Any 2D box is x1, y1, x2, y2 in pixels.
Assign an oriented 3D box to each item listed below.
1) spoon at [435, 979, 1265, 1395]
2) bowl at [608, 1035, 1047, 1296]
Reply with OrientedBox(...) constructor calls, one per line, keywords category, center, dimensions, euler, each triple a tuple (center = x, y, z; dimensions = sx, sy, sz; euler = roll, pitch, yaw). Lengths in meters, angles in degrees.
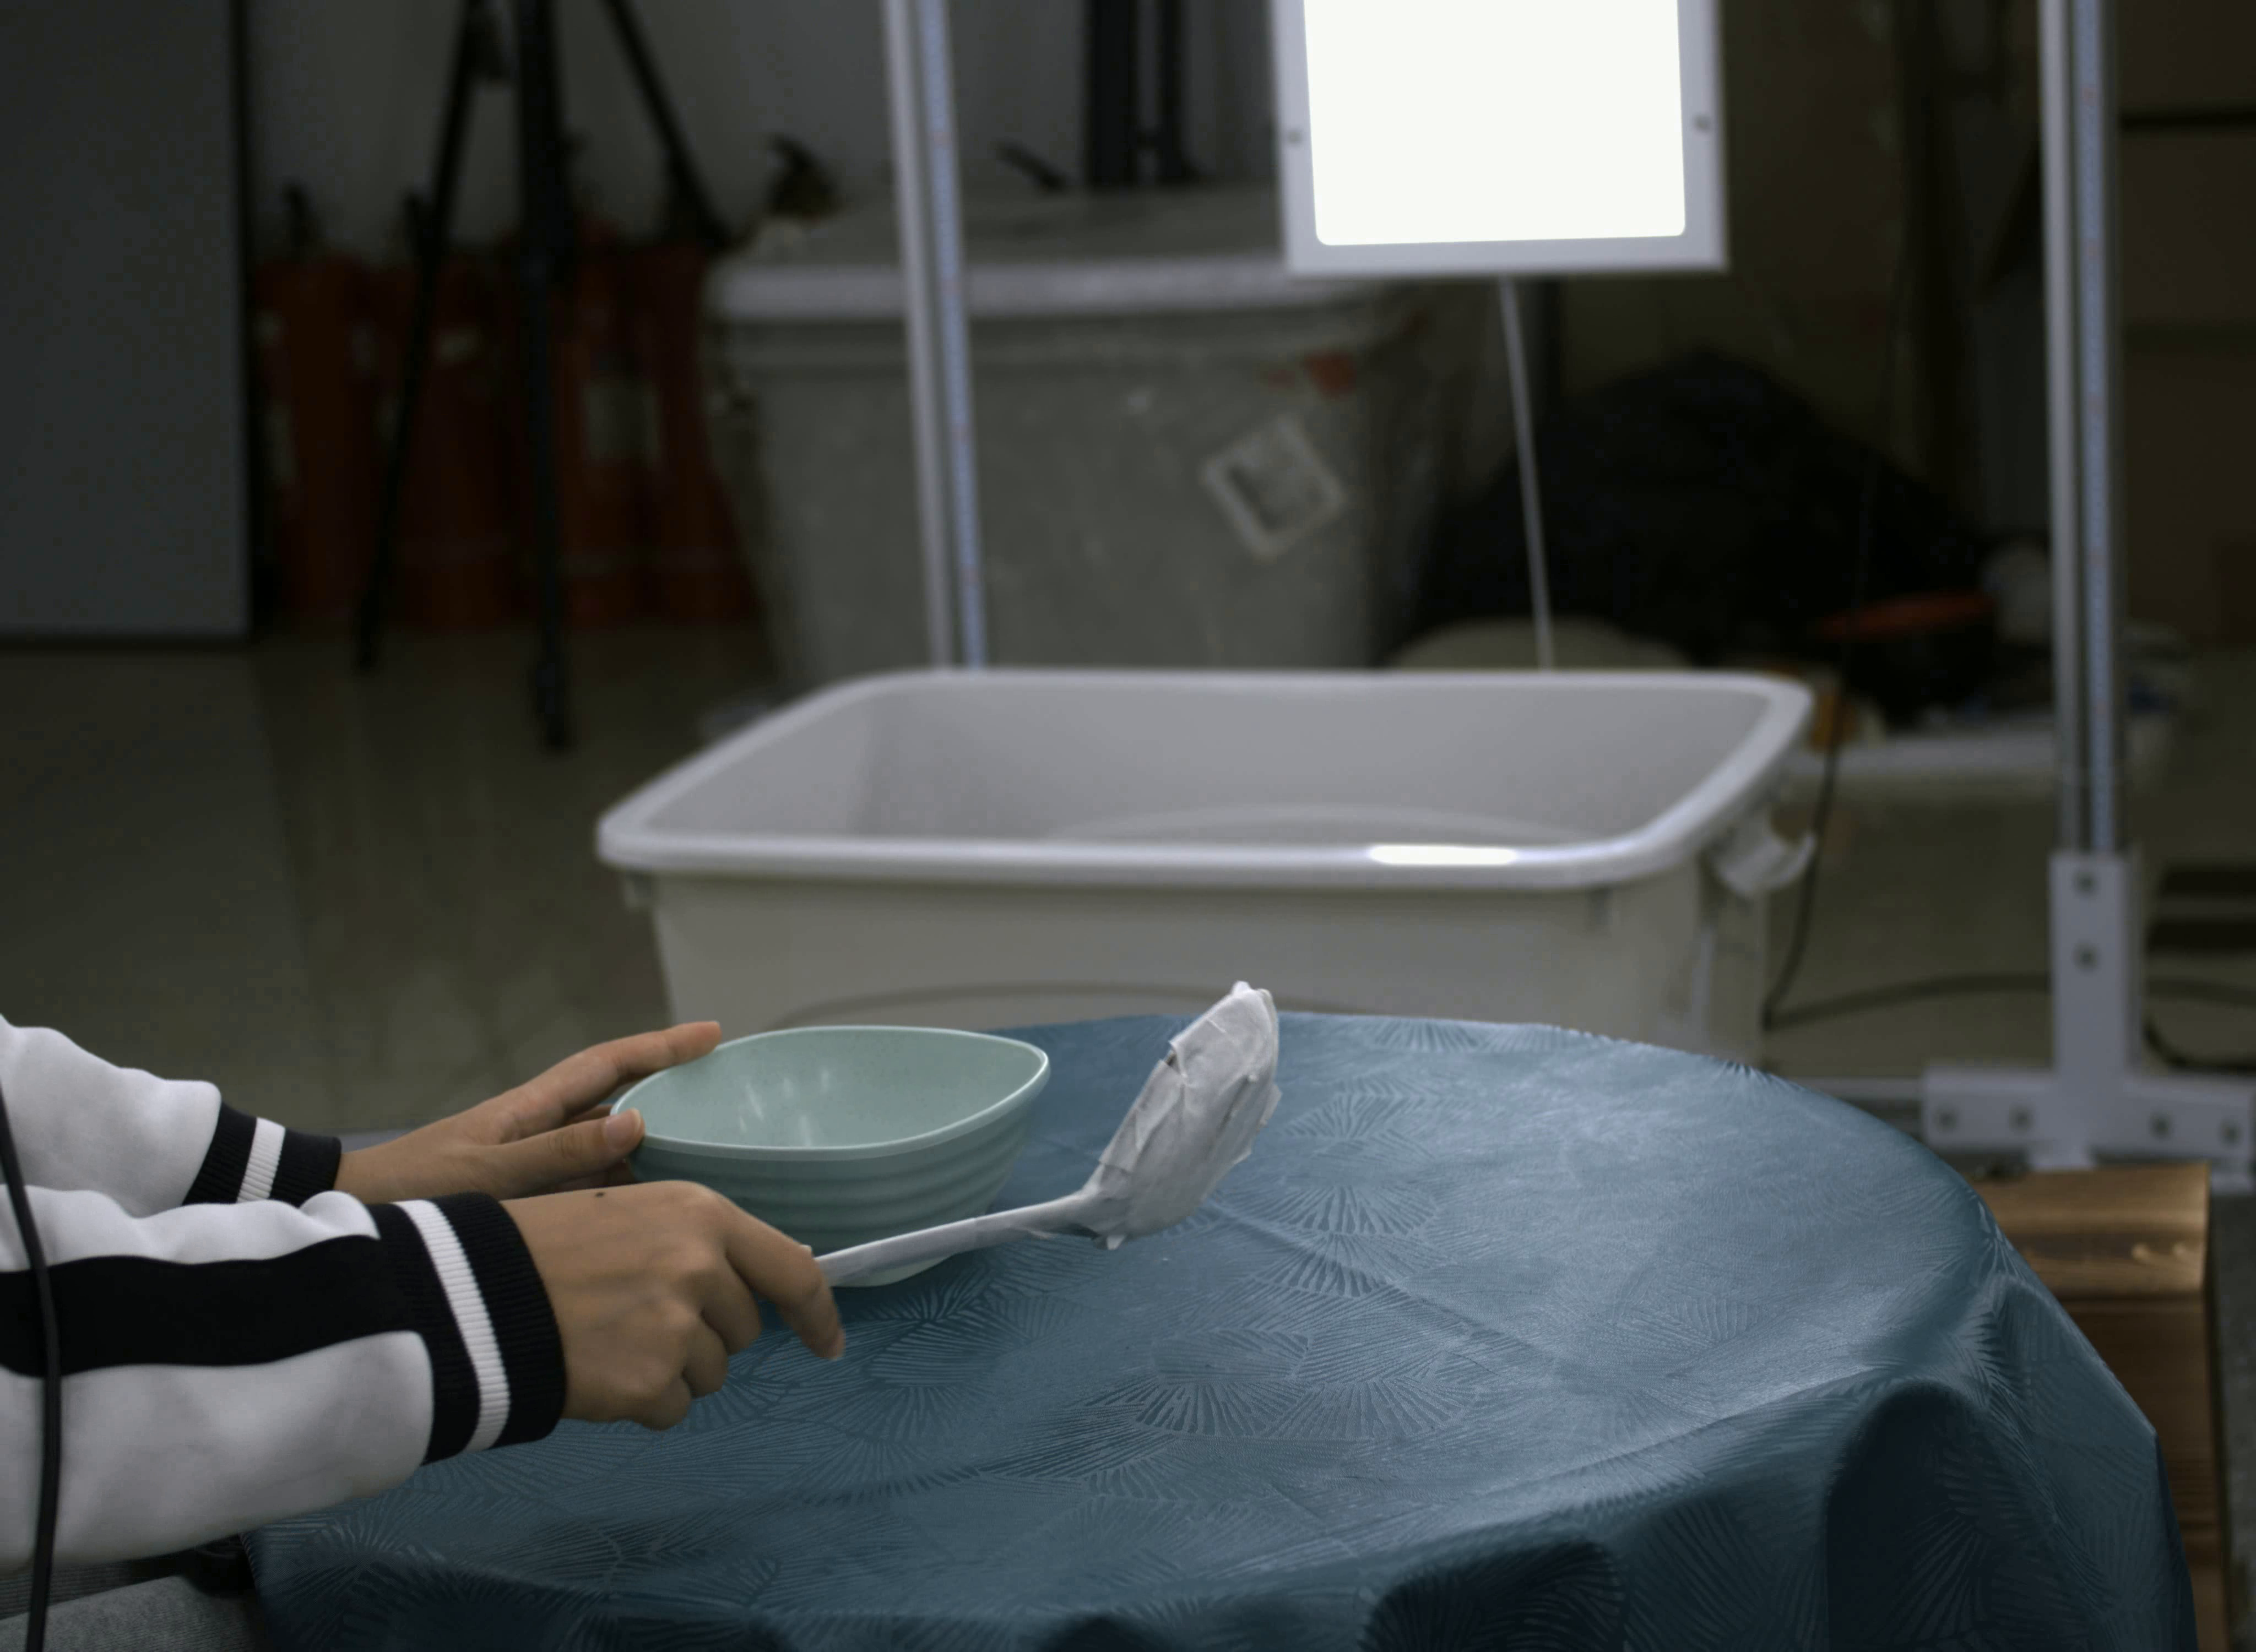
OrientedBox(category="spoon", center=(-0.080, 0.115, 1.656), dimensions=(0.274, 0.101, 0.060), euler=(-14, 46, -11))
OrientedBox(category="bowl", center=(-0.099, 0.118, 1.861), dimensions=(0.151, 0.059, 0.151), euler=(-5, 14, 0))
